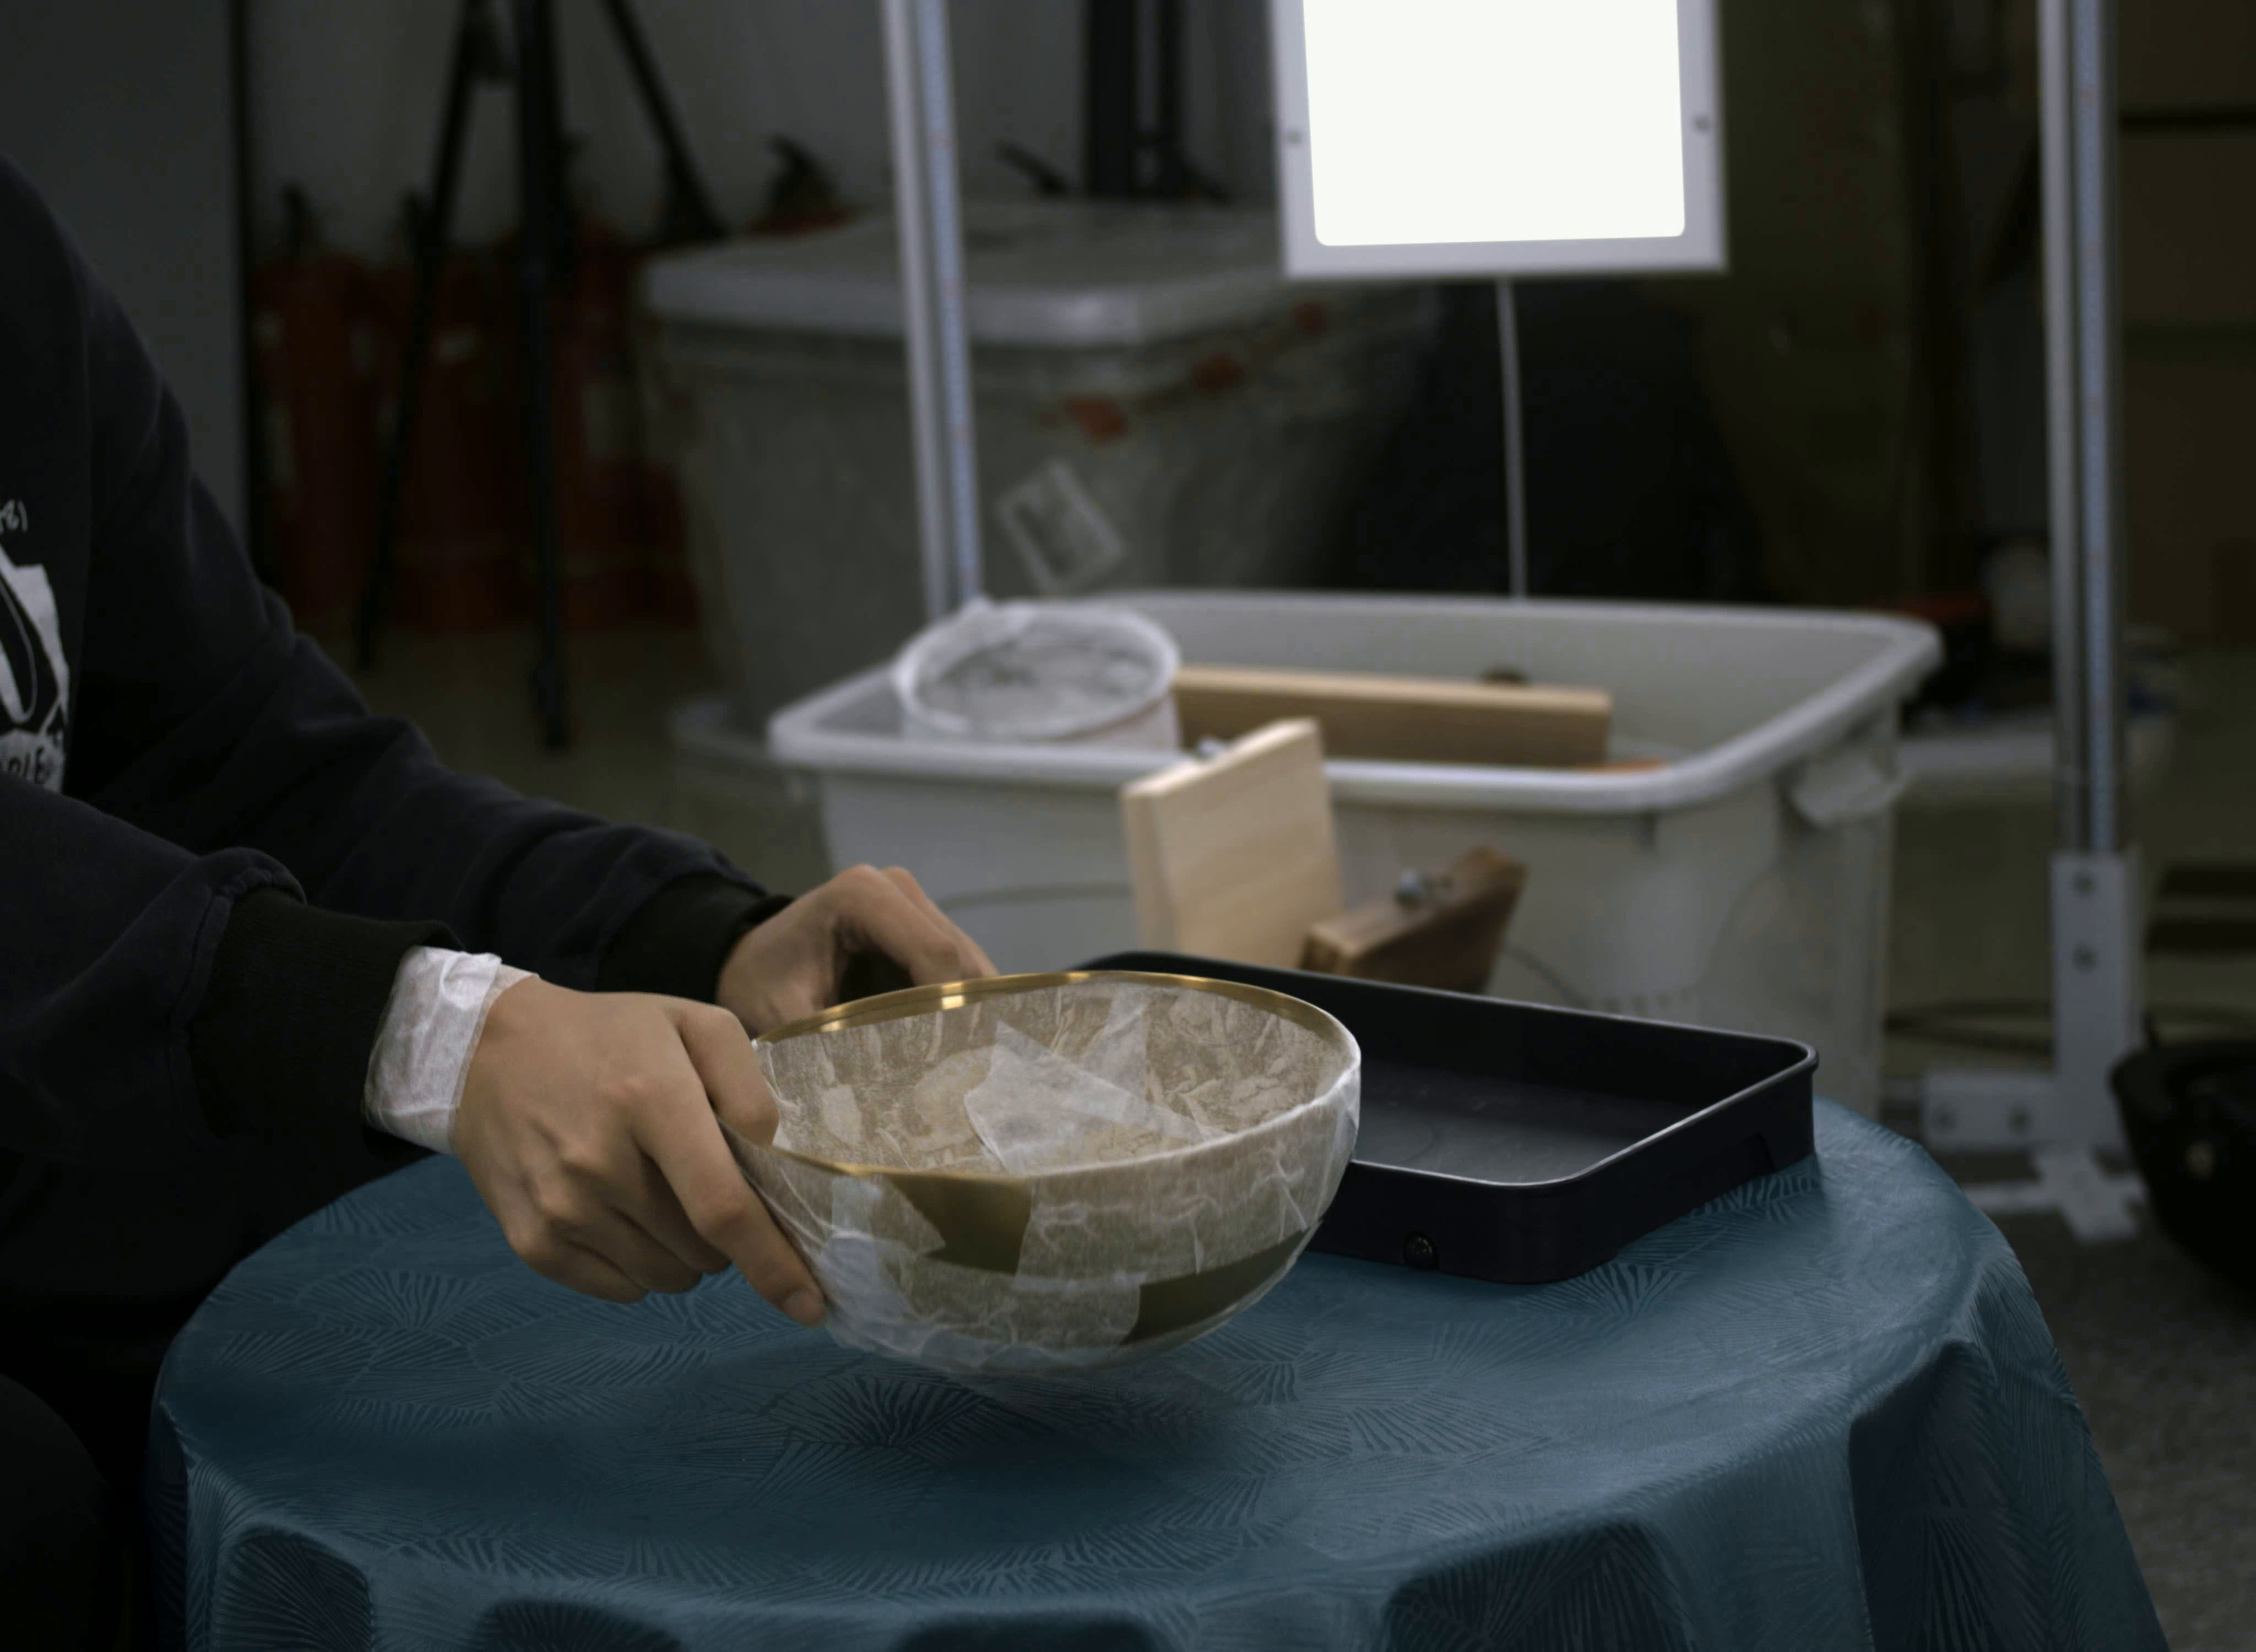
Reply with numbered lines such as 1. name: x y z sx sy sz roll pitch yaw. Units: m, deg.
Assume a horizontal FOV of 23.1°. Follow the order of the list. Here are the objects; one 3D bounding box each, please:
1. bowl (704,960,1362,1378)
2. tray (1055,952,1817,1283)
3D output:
1. bowl: -0.028 0.113 1.693 0.214 0.095 0.214 -4 16 0
2. tray: 0.067 0.098 1.916 0.325 0.037 0.179 7 18 40
